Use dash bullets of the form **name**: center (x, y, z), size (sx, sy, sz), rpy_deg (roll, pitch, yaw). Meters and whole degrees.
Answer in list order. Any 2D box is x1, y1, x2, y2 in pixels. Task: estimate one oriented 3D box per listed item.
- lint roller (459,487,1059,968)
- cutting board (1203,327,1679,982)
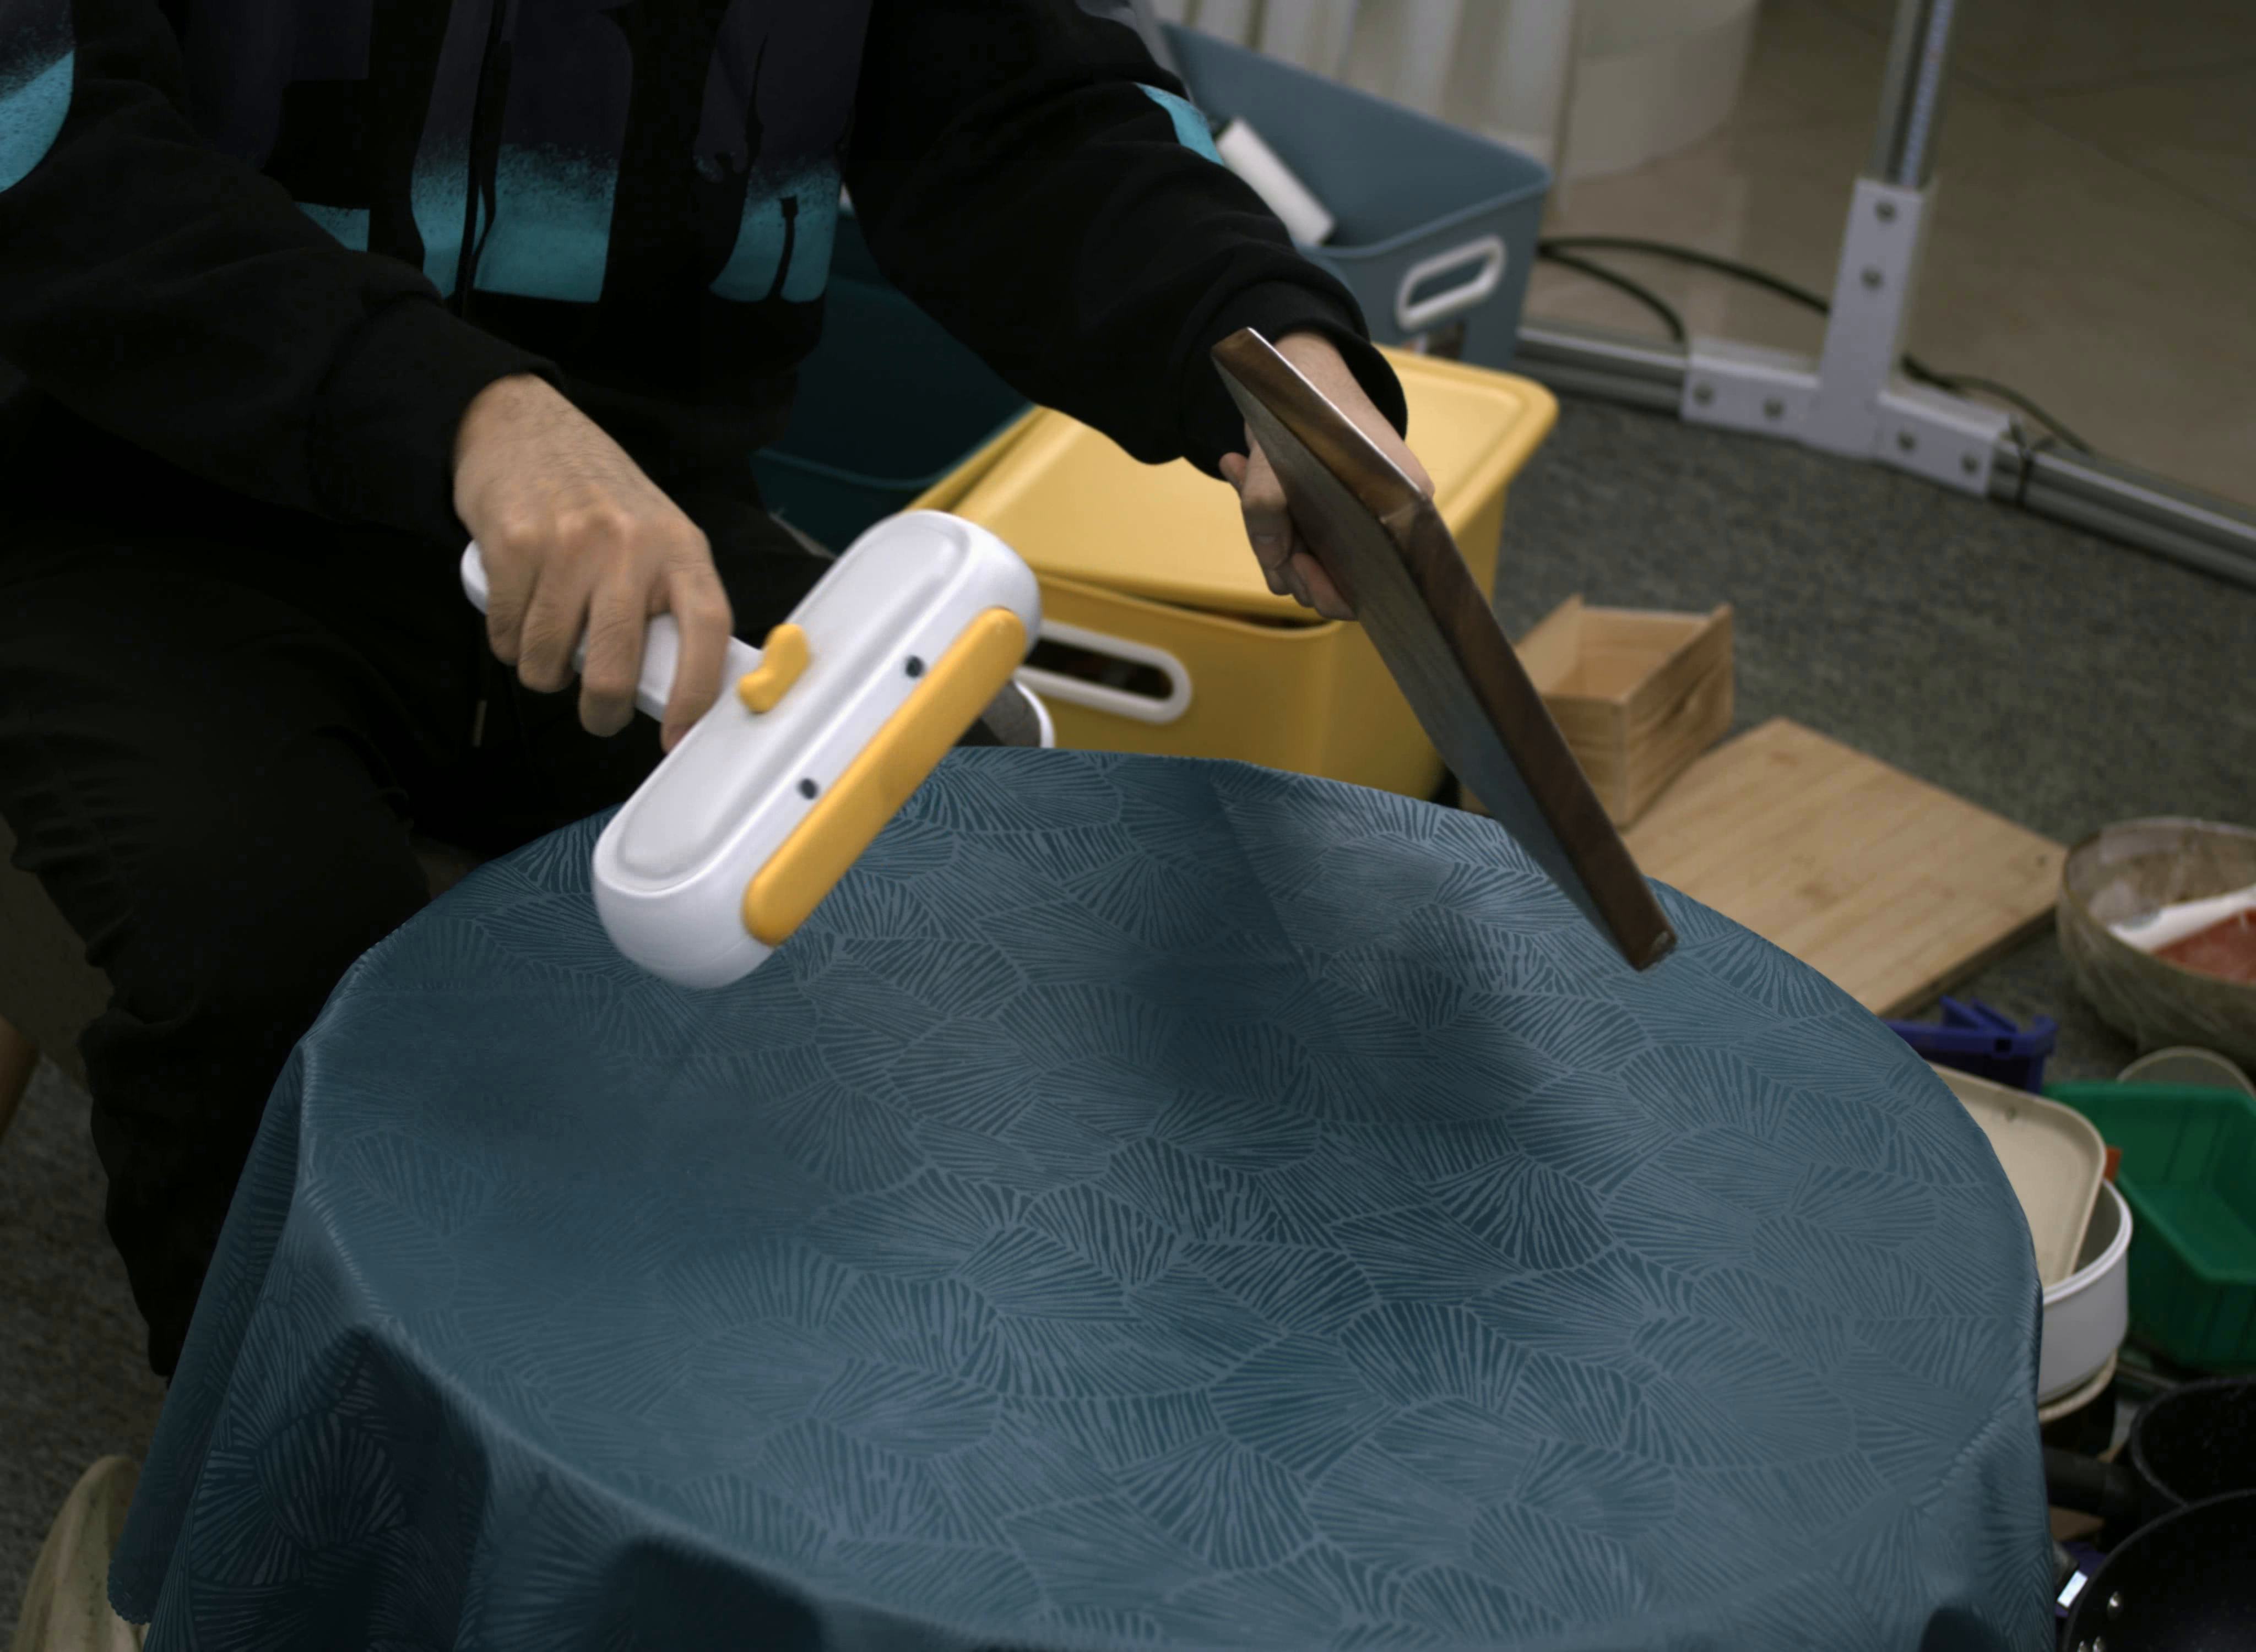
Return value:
- **lint roller**: center (-0.145, -0.055, 1.815), size (0.193, 0.073, 0.193), rpy_deg (19, 64, 33)
- **cutting board**: center (0.097, -0.081, 1.936), size (0.023, 0.200, 0.354), rpy_deg (-32, 22, -2)
